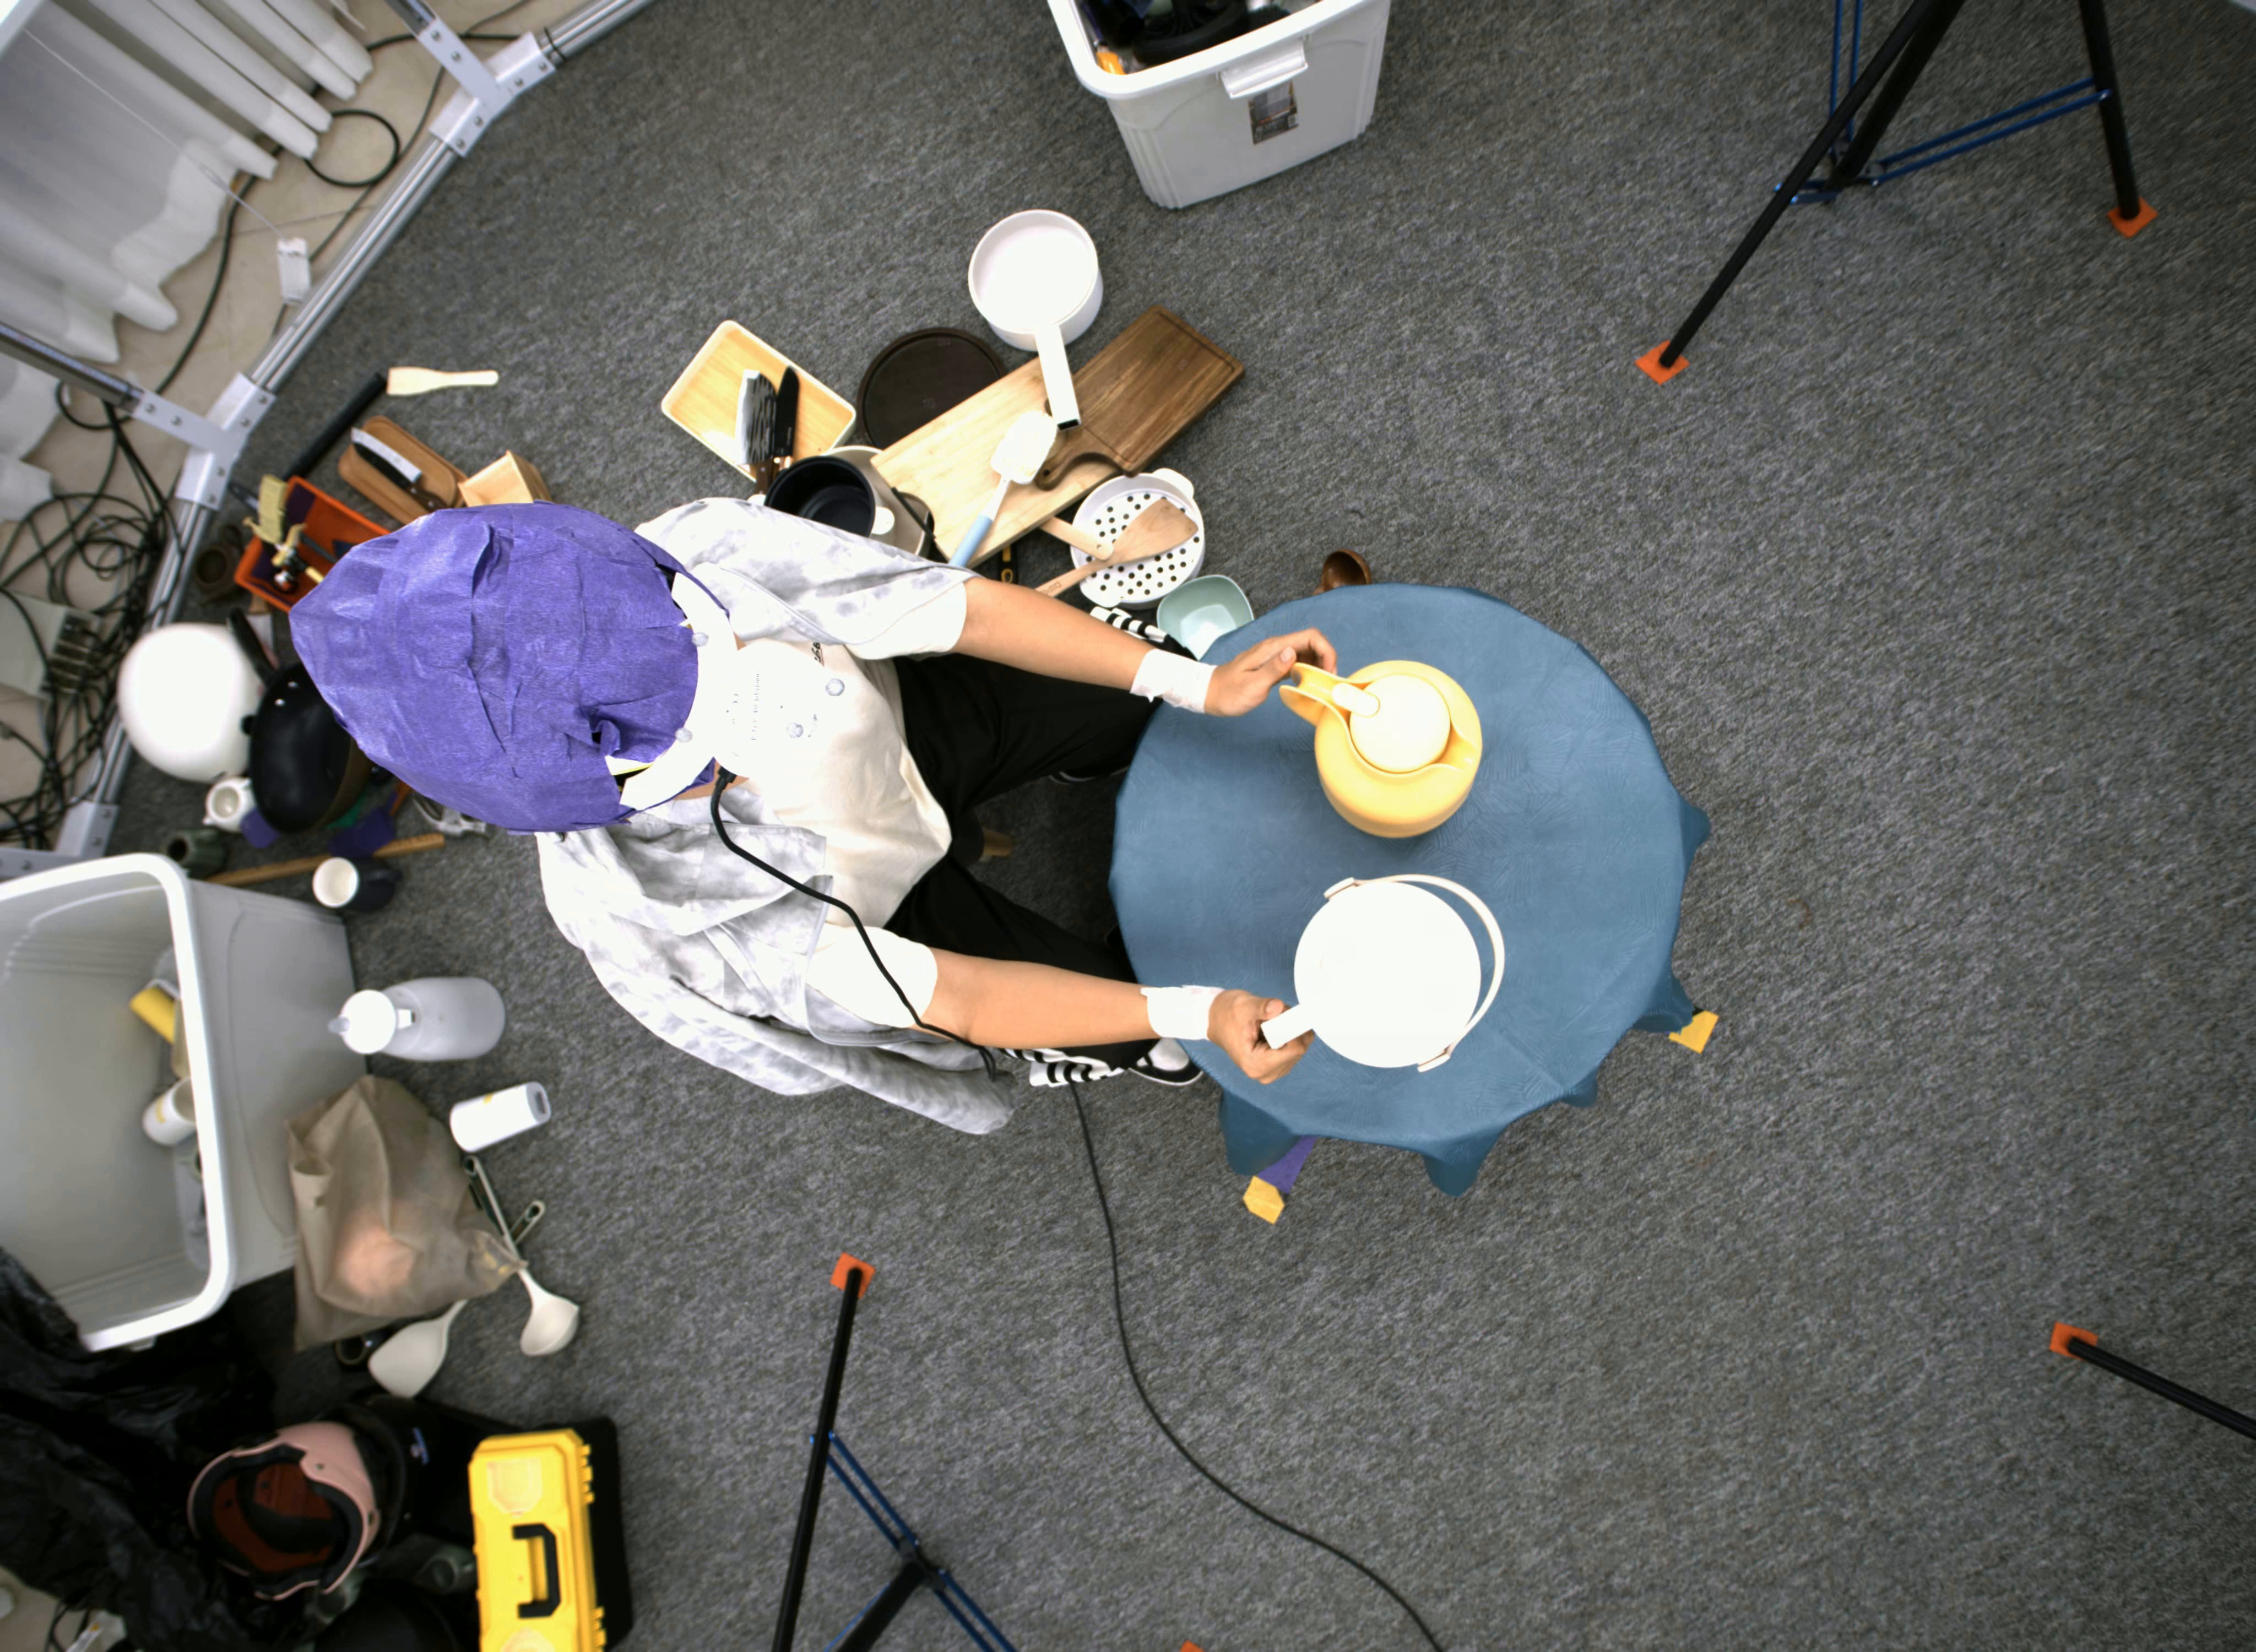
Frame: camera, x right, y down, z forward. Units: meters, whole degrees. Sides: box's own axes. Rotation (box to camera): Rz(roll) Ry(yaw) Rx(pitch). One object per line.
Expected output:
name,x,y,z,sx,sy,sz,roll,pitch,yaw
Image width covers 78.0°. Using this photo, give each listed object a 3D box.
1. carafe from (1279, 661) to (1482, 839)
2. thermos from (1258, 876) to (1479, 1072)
carafe,0.245,-0.090,1.339,0.202,0.261,0.163,30,88,10
thermos,0.220,0.139,1.262,0.208,0.407,0.174,-28,81,6
